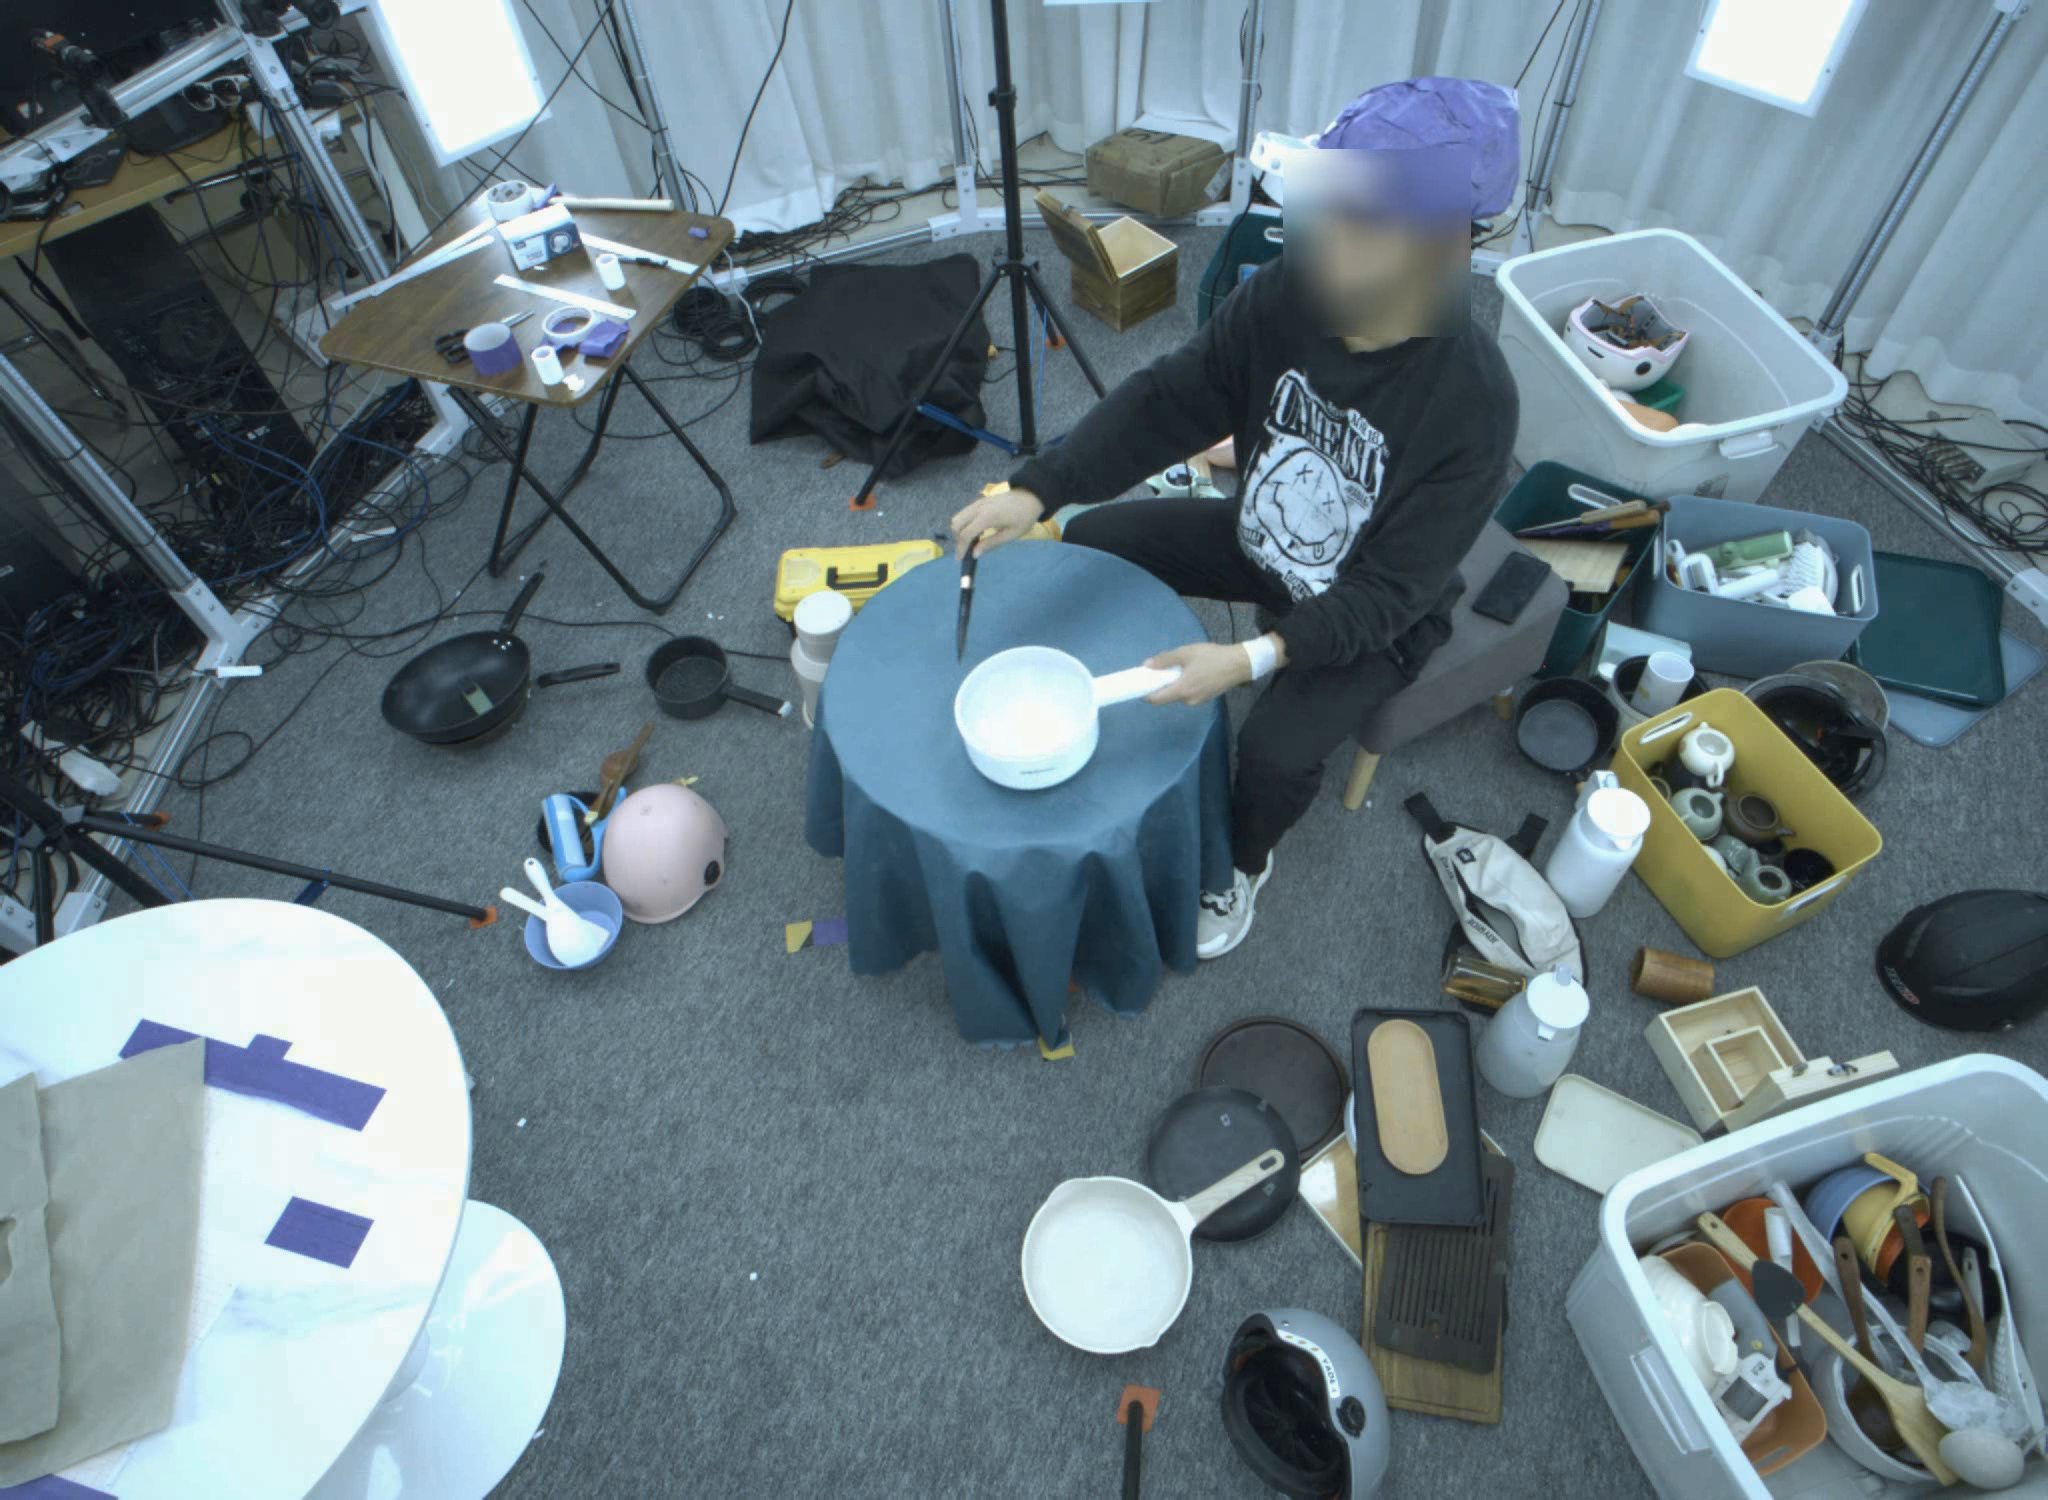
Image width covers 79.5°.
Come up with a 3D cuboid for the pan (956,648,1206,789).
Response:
[{"bbox_3d":[0.084,-0.058,1.755,0.356,0.103,0.198,-14,53,-5],"label":"pan"}]

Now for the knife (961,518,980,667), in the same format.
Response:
[{"bbox_3d":[-0.081,-0.229,1.774,0.017,0.027,0.224,-5,76,37],"label":"knife"}]
